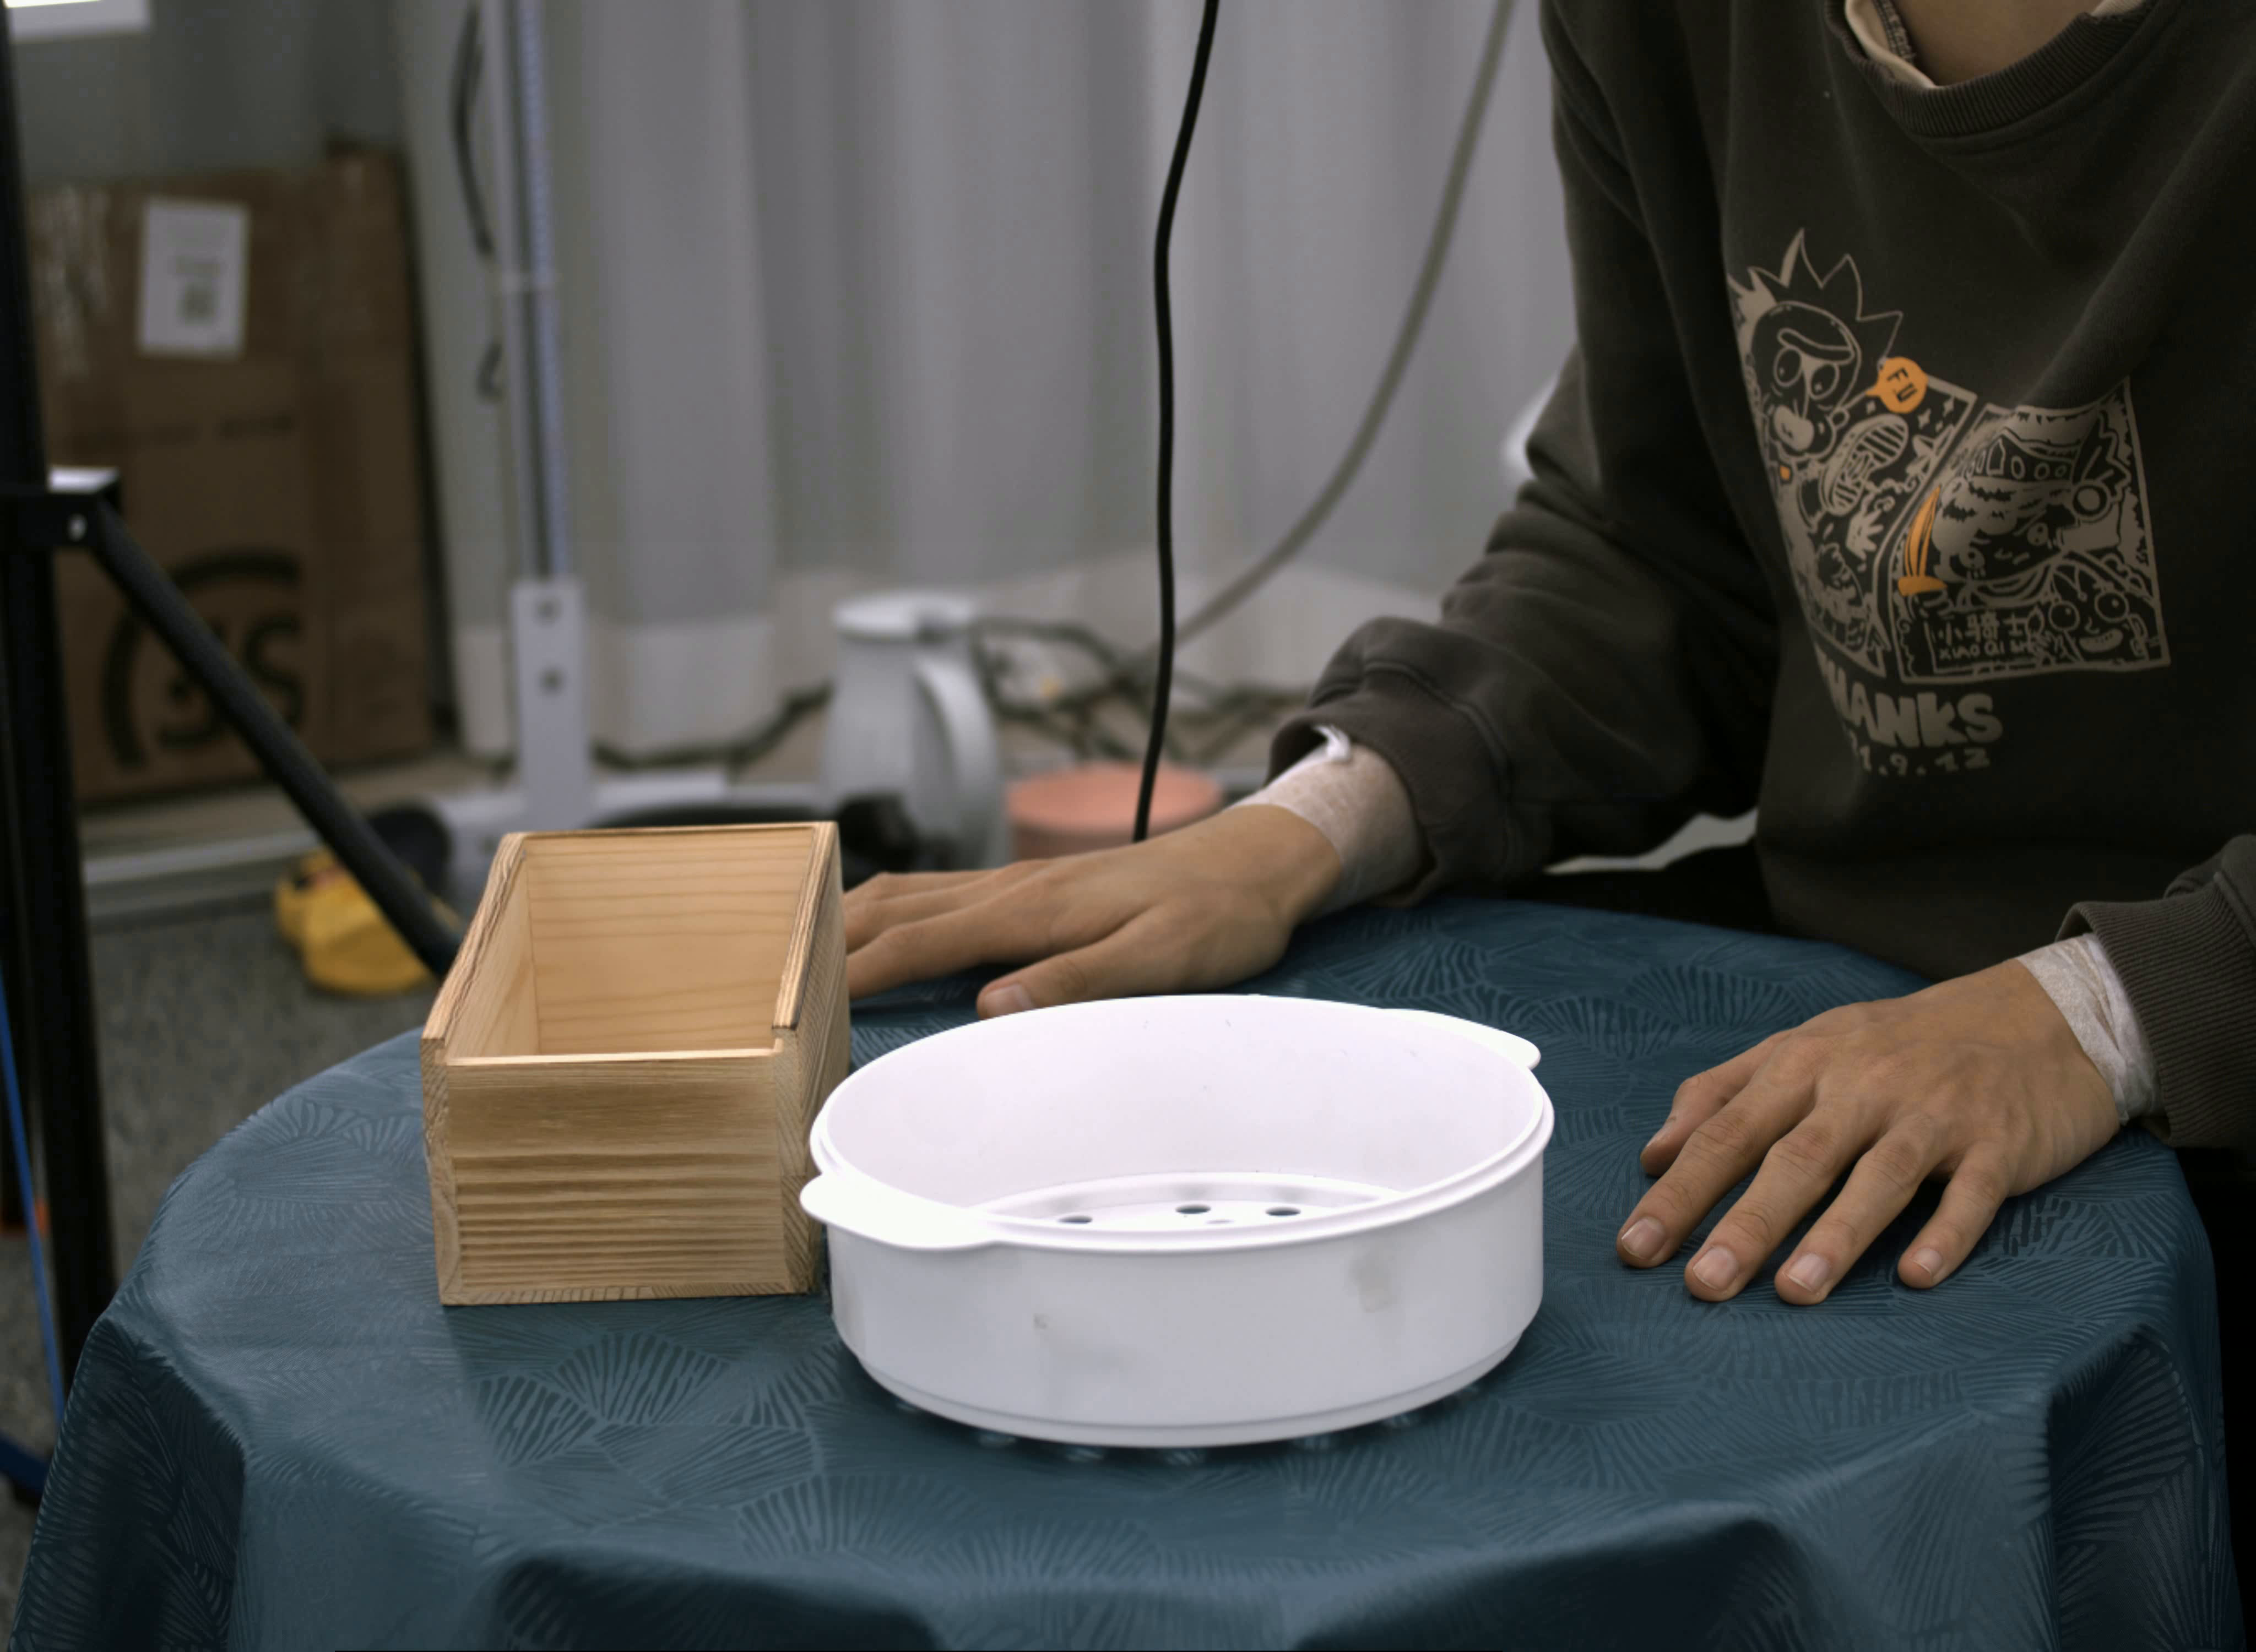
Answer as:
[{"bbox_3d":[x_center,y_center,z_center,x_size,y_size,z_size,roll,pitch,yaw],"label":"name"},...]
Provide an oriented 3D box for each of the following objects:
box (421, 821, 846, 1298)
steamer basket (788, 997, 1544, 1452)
[{"bbox_3d":[-0.143,0.066,1.589,0.107,0.080,0.212,-2,16,1],"label":"box"},{"bbox_3d":[0.012,0.107,1.437,0.225,0.069,0.206,-14,19,-37],"label":"steamer basket"}]
